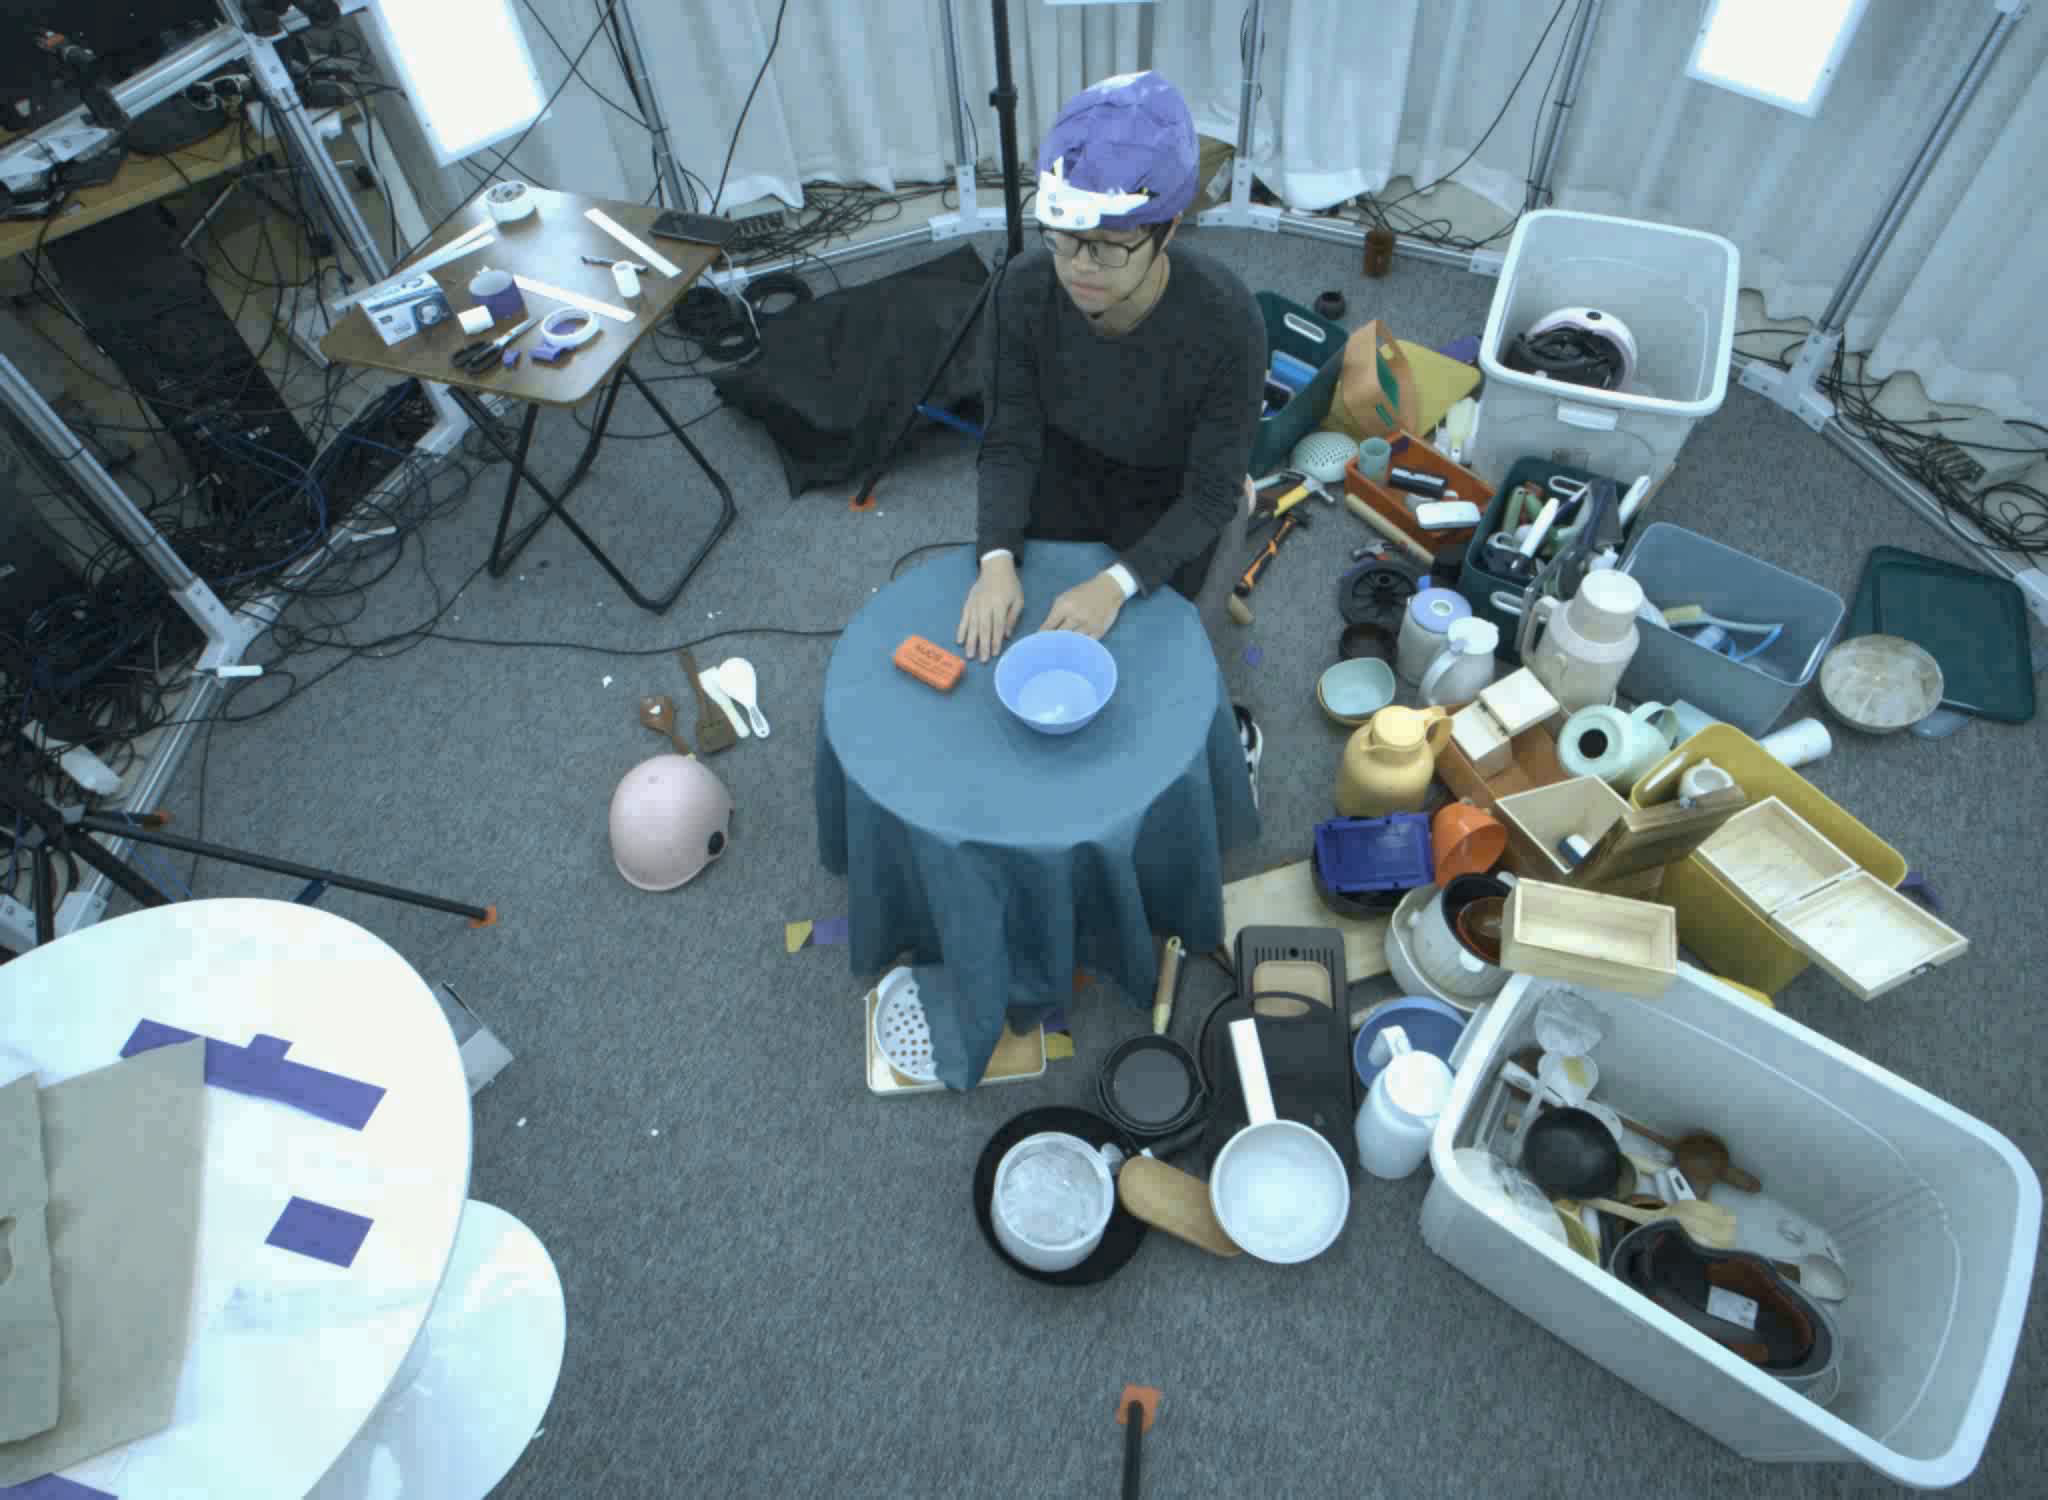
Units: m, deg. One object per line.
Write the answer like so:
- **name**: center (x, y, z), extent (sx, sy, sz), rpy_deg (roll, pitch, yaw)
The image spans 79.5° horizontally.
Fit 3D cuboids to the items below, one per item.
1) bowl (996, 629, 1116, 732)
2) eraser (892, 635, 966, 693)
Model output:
- **bowl**: center (0.048, -0.091, 1.808), extent (0.176, 0.071, 0.174), rpy_deg (-1, 55, 2)
- **eraser**: center (-0.146, -0.132, 1.871), extent (0.106, 0.023, 0.059), rpy_deg (30, 64, 22)
